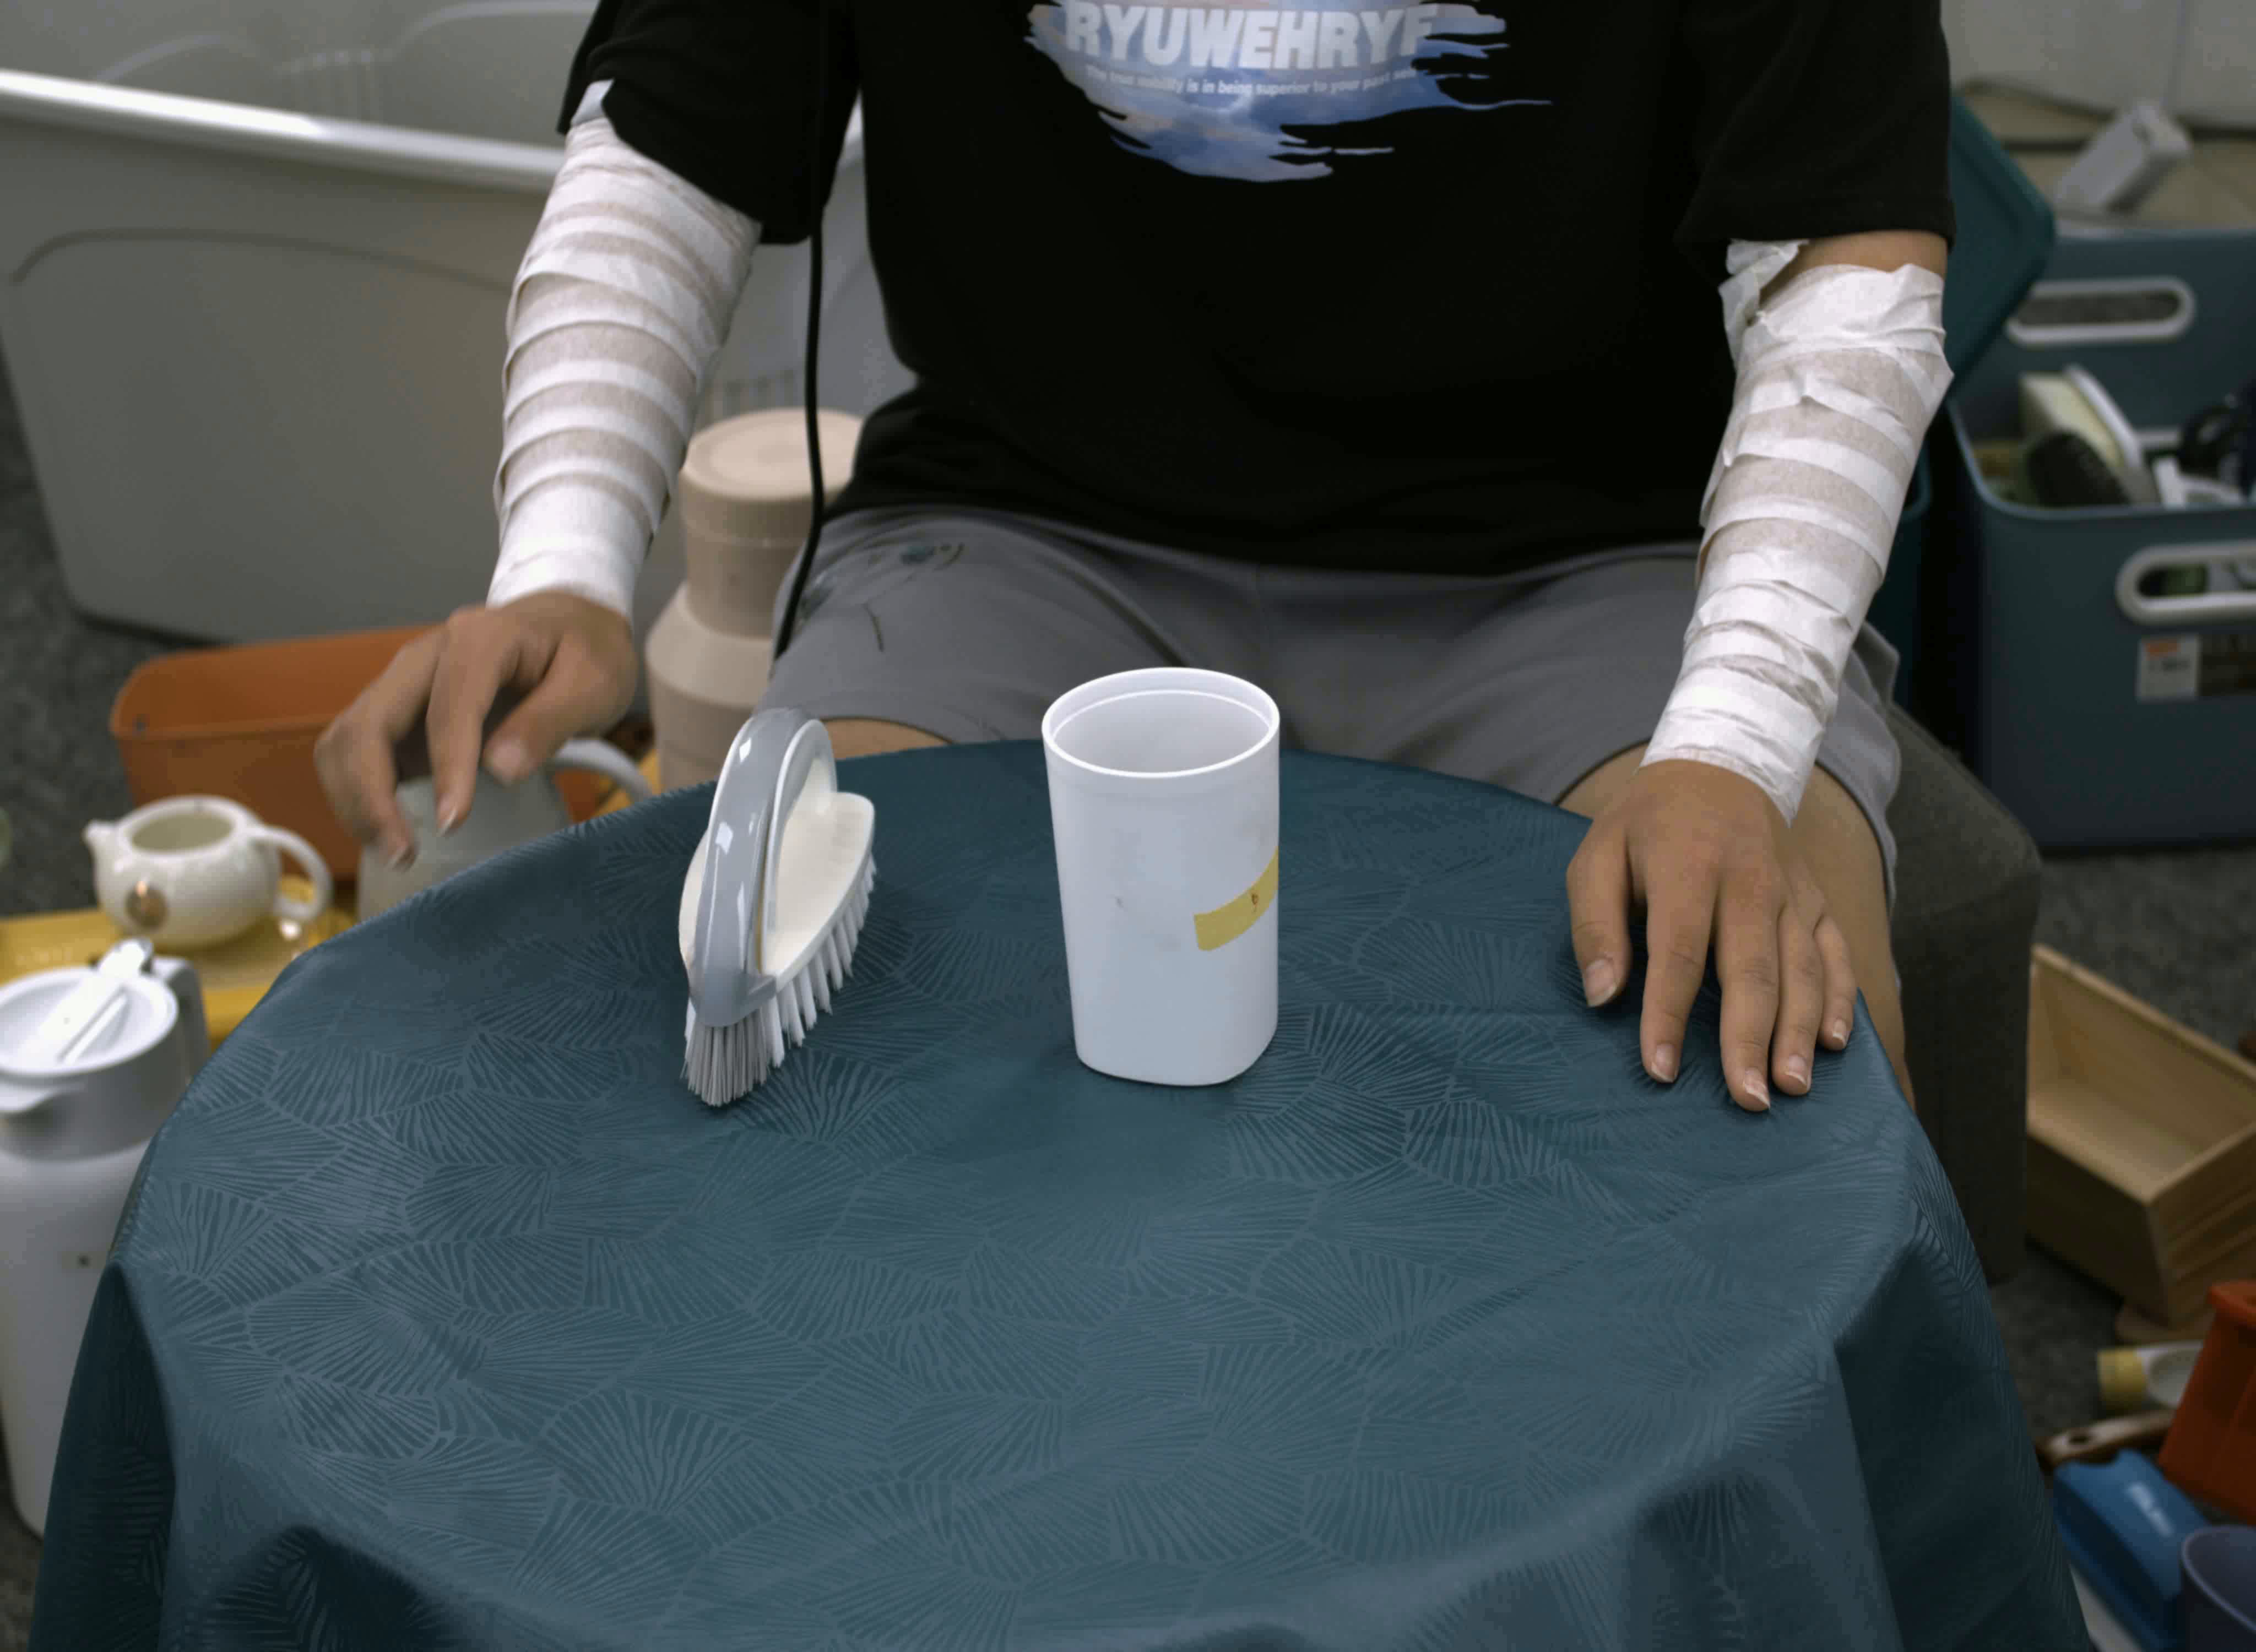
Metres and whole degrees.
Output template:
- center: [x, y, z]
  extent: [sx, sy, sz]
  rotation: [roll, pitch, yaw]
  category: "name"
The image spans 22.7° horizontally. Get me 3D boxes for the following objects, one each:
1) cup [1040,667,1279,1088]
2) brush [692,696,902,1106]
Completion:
- center: [0.015, 0.019, 1.925]
  extent: [0.081, 0.124, 0.083]
  rotation: [-3, 27, 2]
  category: "cup"
- center: [-0.126, 0.019, 1.976]
  extent: [0.061, 0.093, 0.178]
  rotation: [-3, 28, 12]
  category: "brush"
